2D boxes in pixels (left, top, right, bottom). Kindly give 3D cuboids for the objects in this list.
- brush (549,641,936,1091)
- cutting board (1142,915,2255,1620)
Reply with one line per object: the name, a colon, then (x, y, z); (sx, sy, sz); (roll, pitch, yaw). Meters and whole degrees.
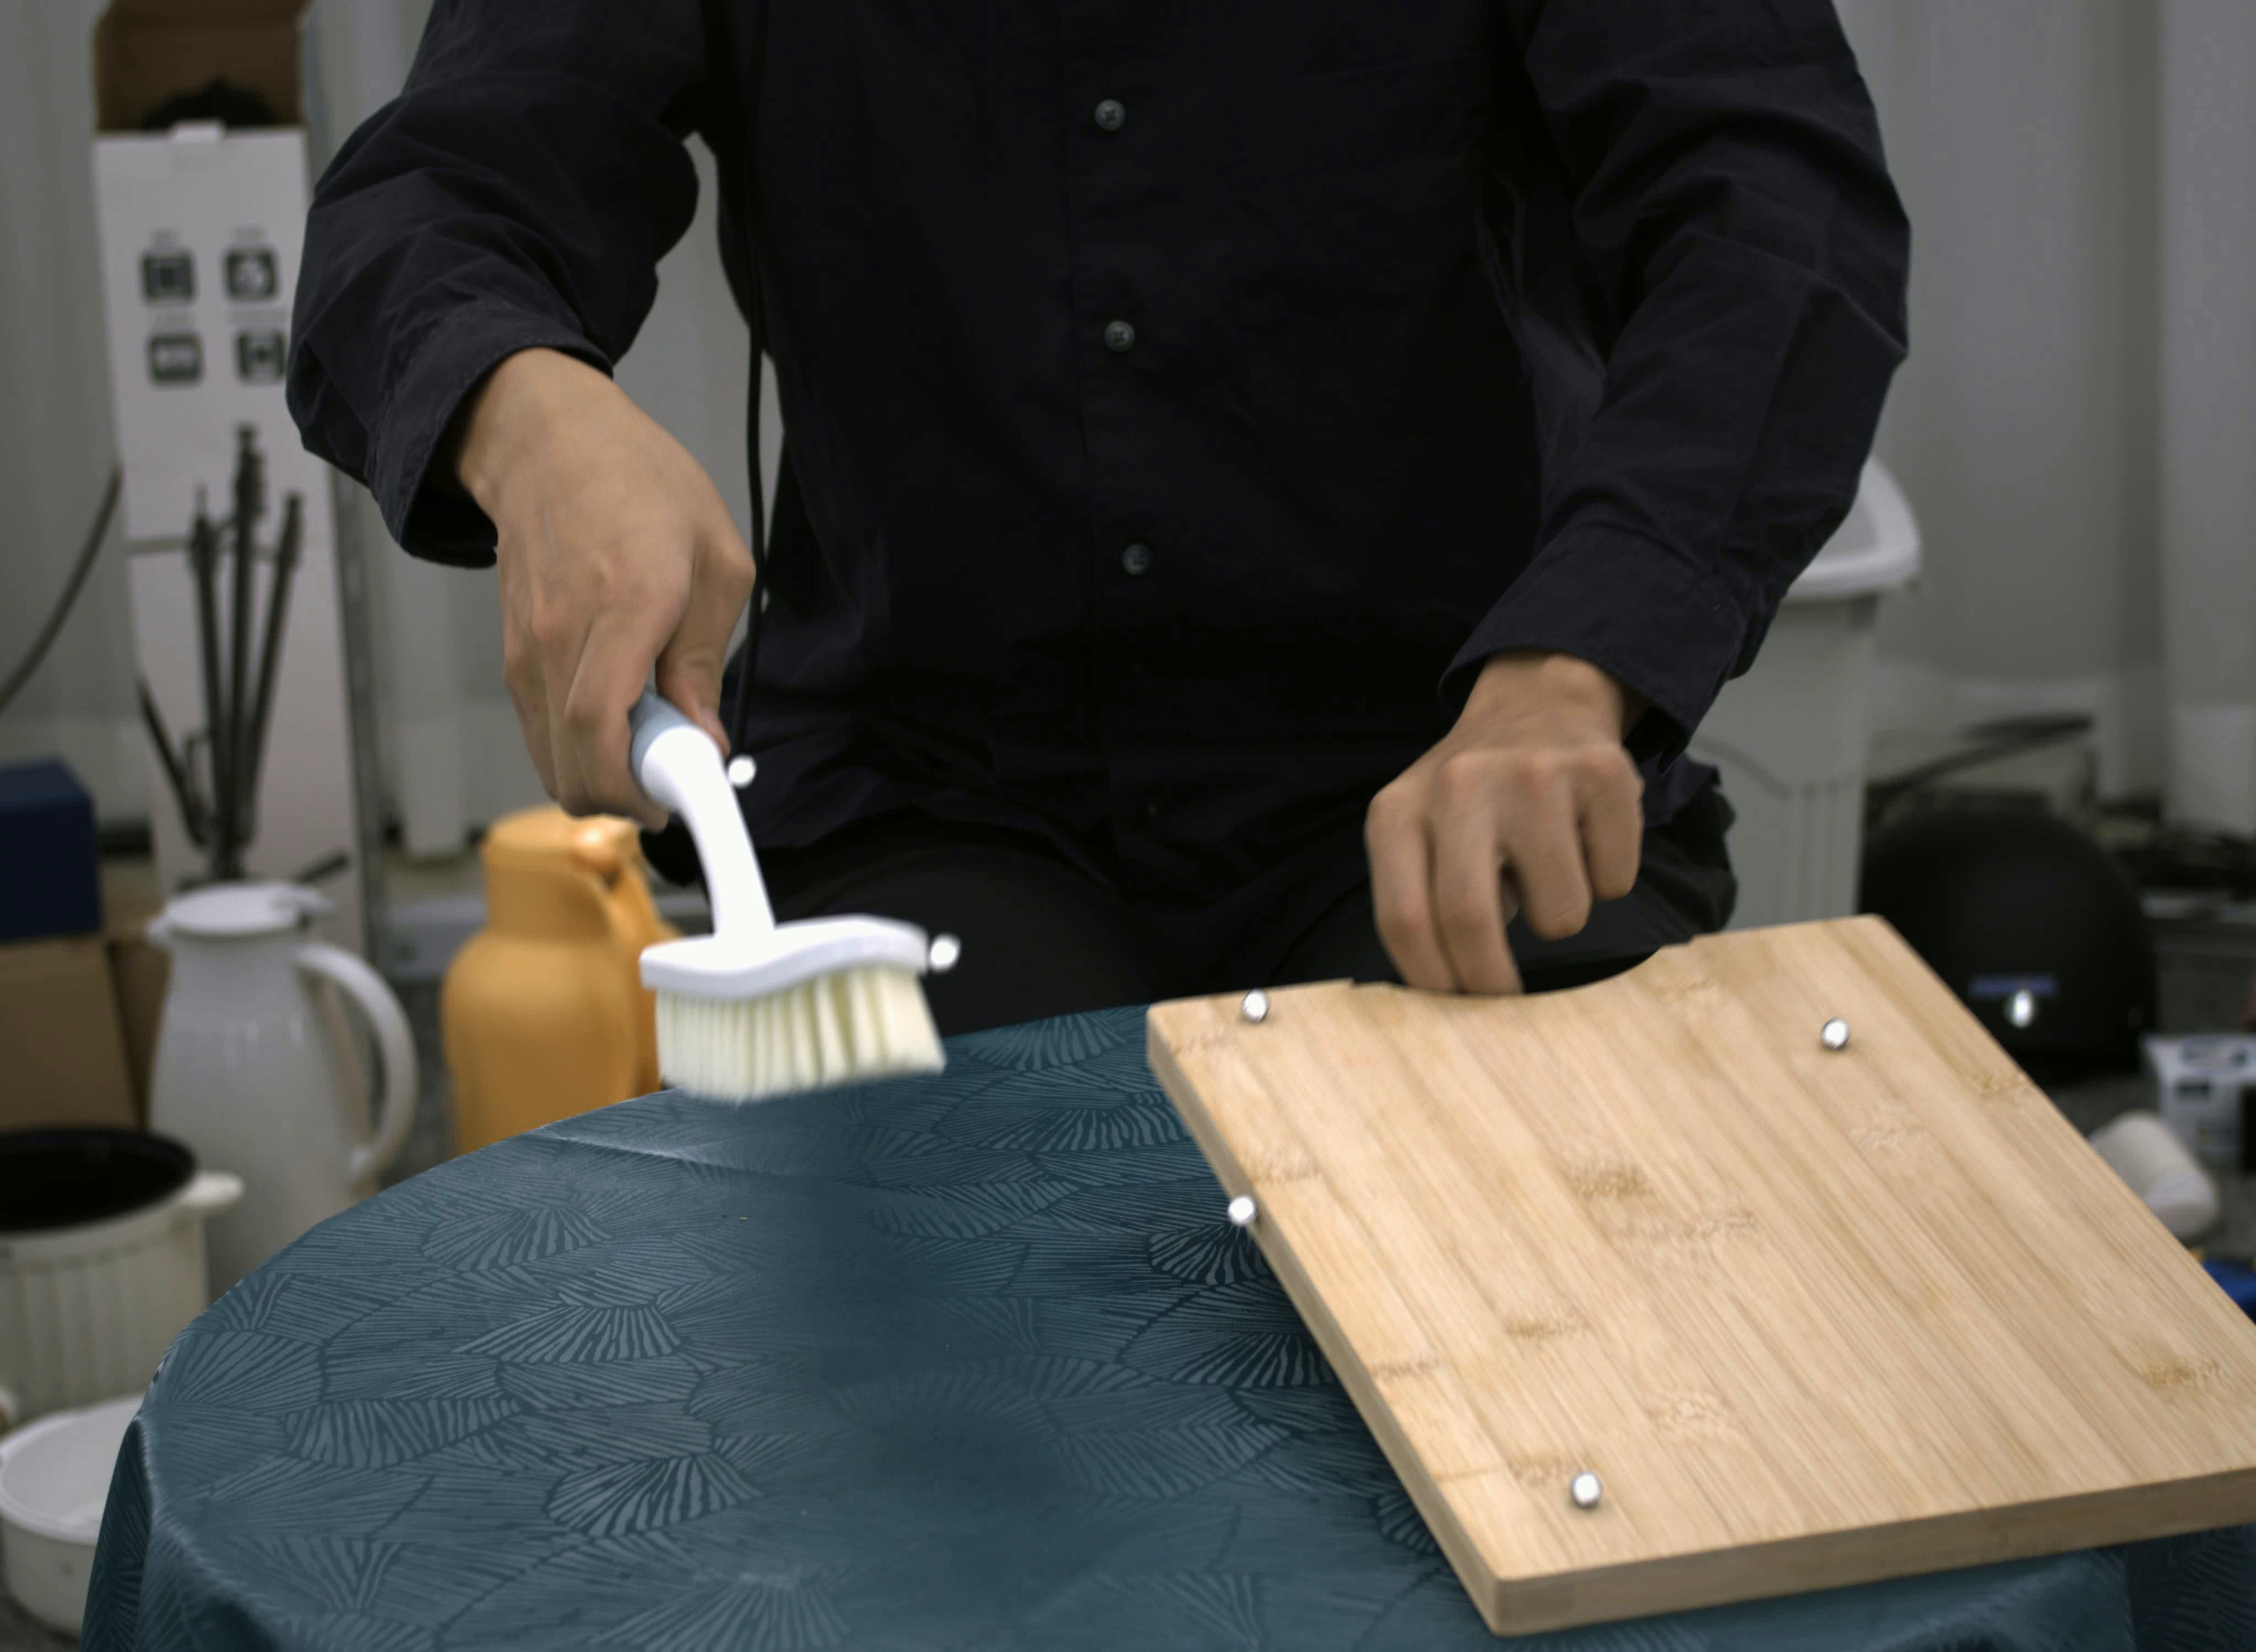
brush: (-0.118, 0.026, 1.602); (0.082, 0.084, 0.328); (31, 2, -23)
cutting board: (0.165, 0.116, 1.550); (0.249, 0.023, 0.353); (-7, 24, -15)
